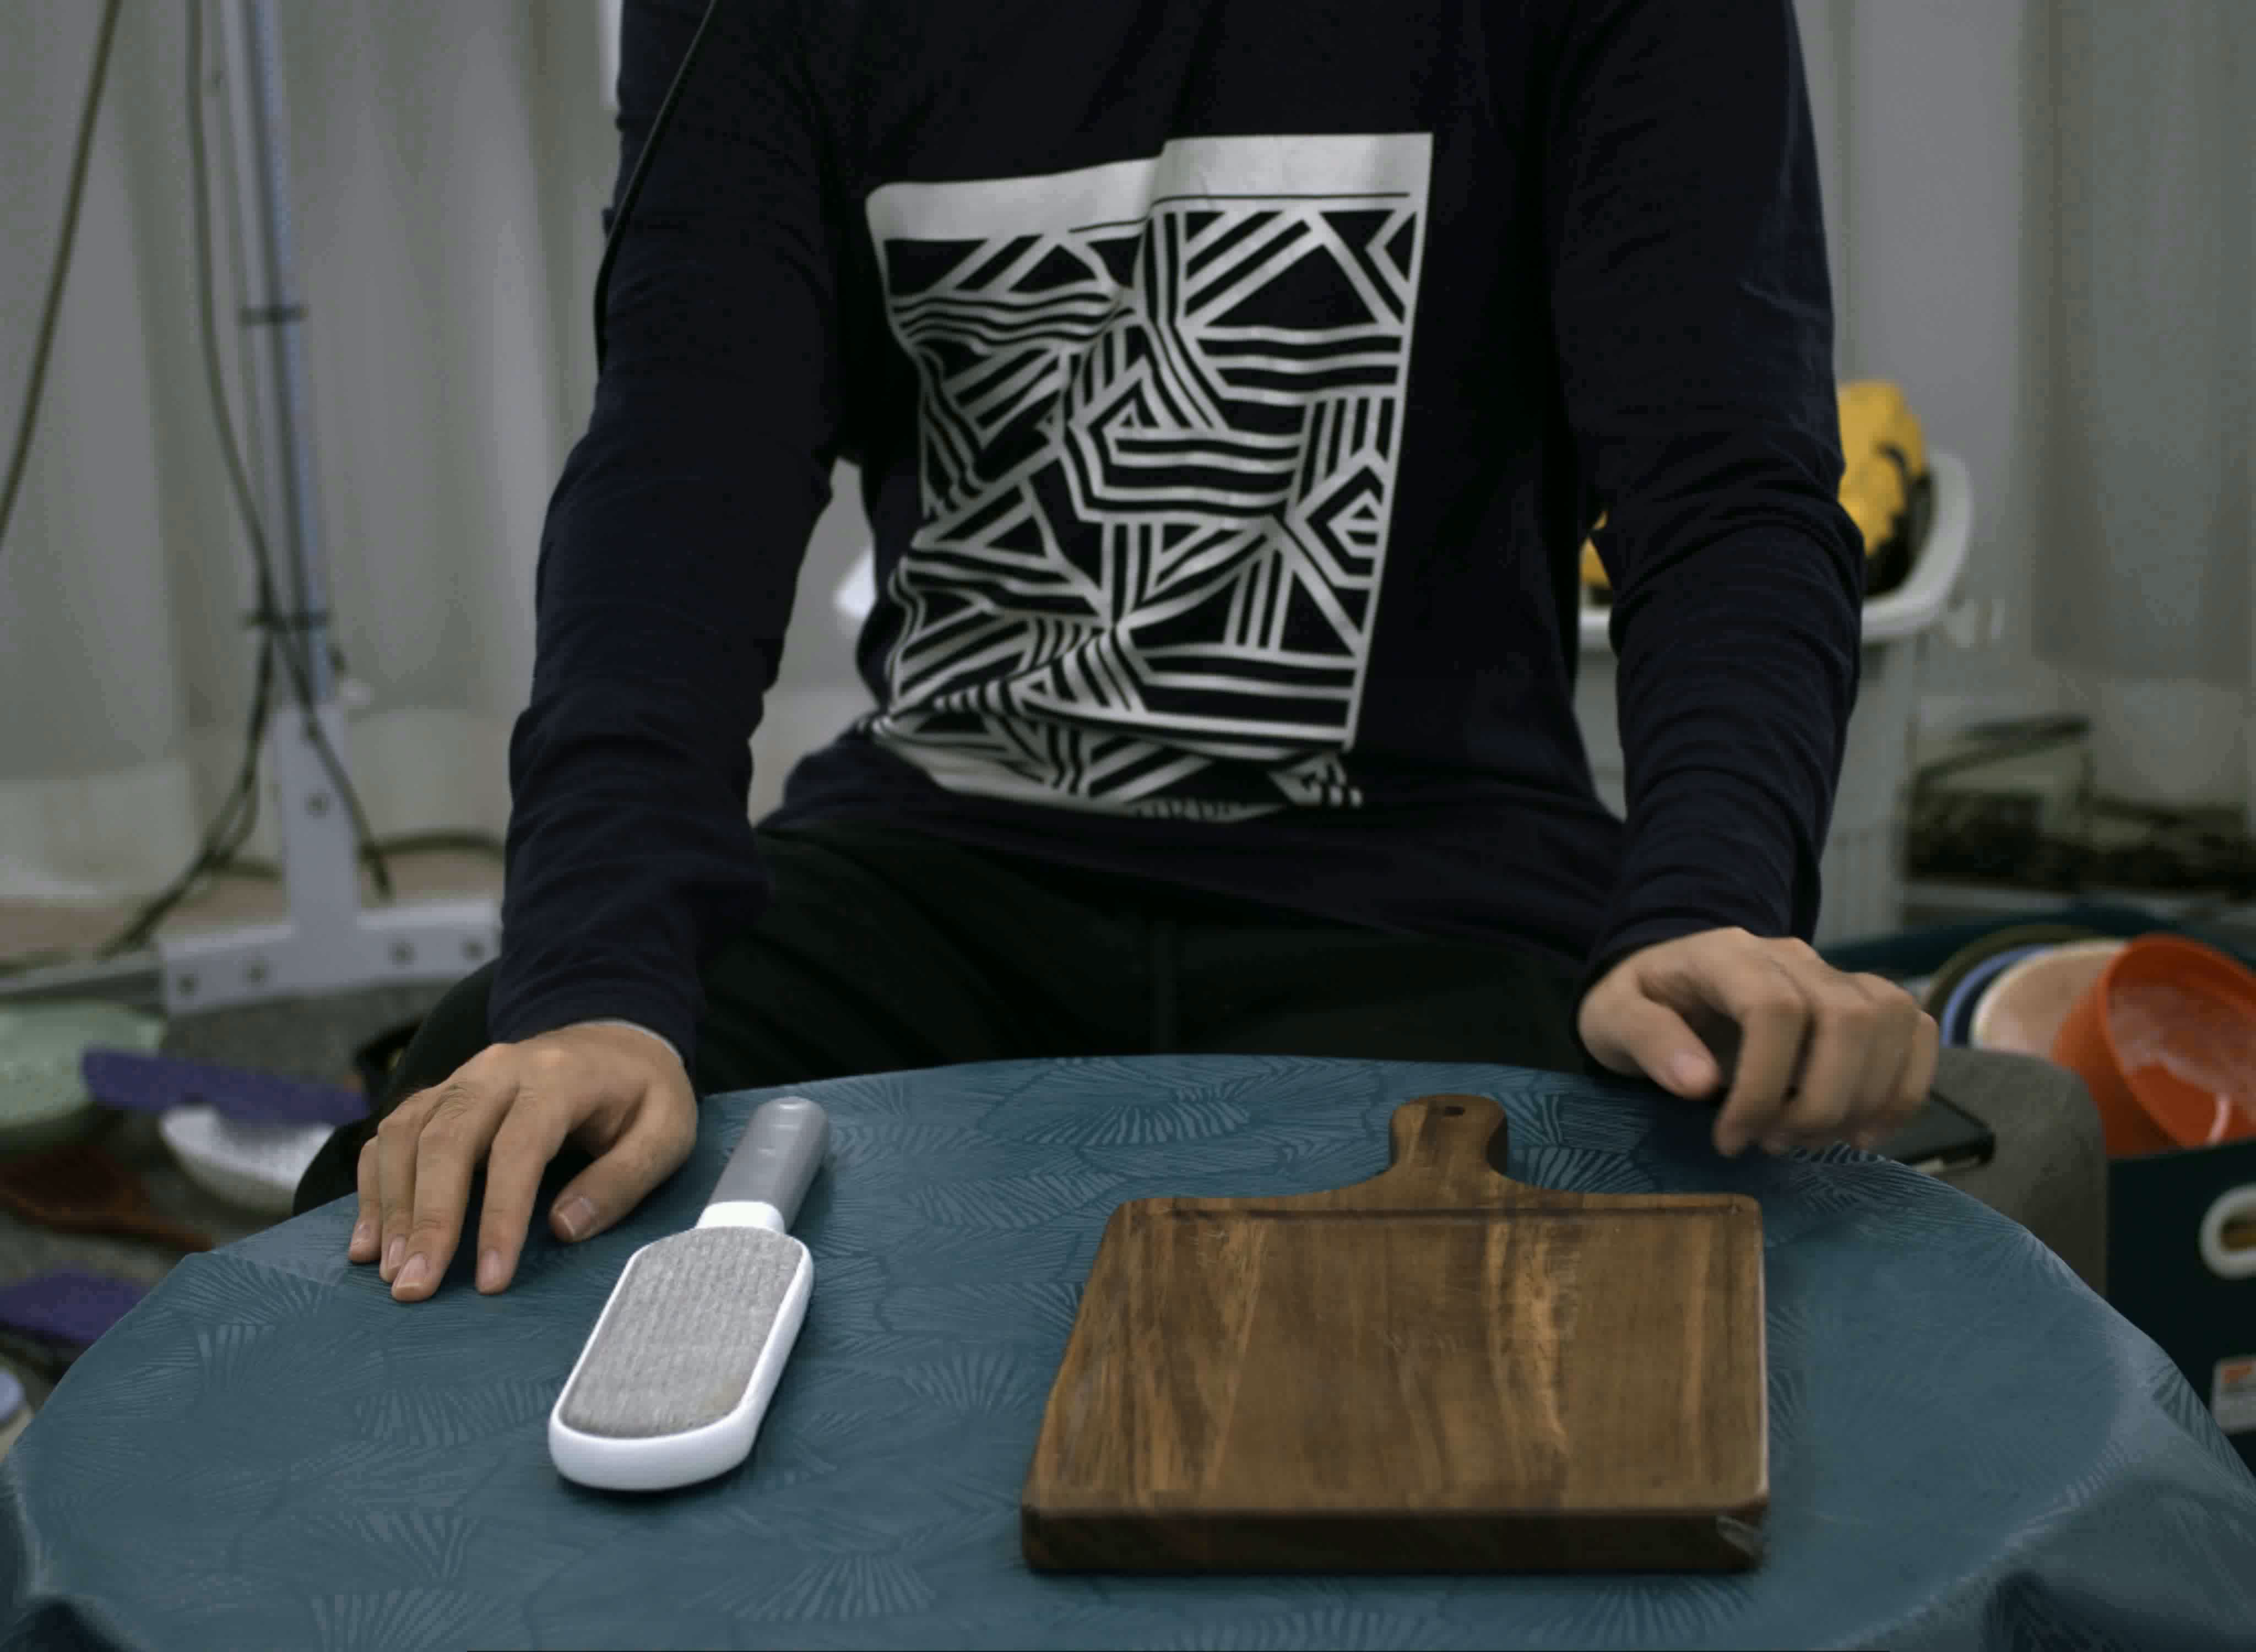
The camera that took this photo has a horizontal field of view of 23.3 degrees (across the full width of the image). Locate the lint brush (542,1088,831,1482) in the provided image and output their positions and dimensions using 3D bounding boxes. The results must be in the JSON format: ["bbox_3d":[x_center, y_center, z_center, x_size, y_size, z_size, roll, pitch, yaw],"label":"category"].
[{"bbox_3d":[-0.120,0.132,1.623,0.060,0.021,0.311,-6,14,7],"label":"lint brush"}]

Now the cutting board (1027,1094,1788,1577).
[{"bbox_3d":[0.085,0.139,1.570,0.200,0.023,0.354,-1,14,6],"label":"cutting board"}]
